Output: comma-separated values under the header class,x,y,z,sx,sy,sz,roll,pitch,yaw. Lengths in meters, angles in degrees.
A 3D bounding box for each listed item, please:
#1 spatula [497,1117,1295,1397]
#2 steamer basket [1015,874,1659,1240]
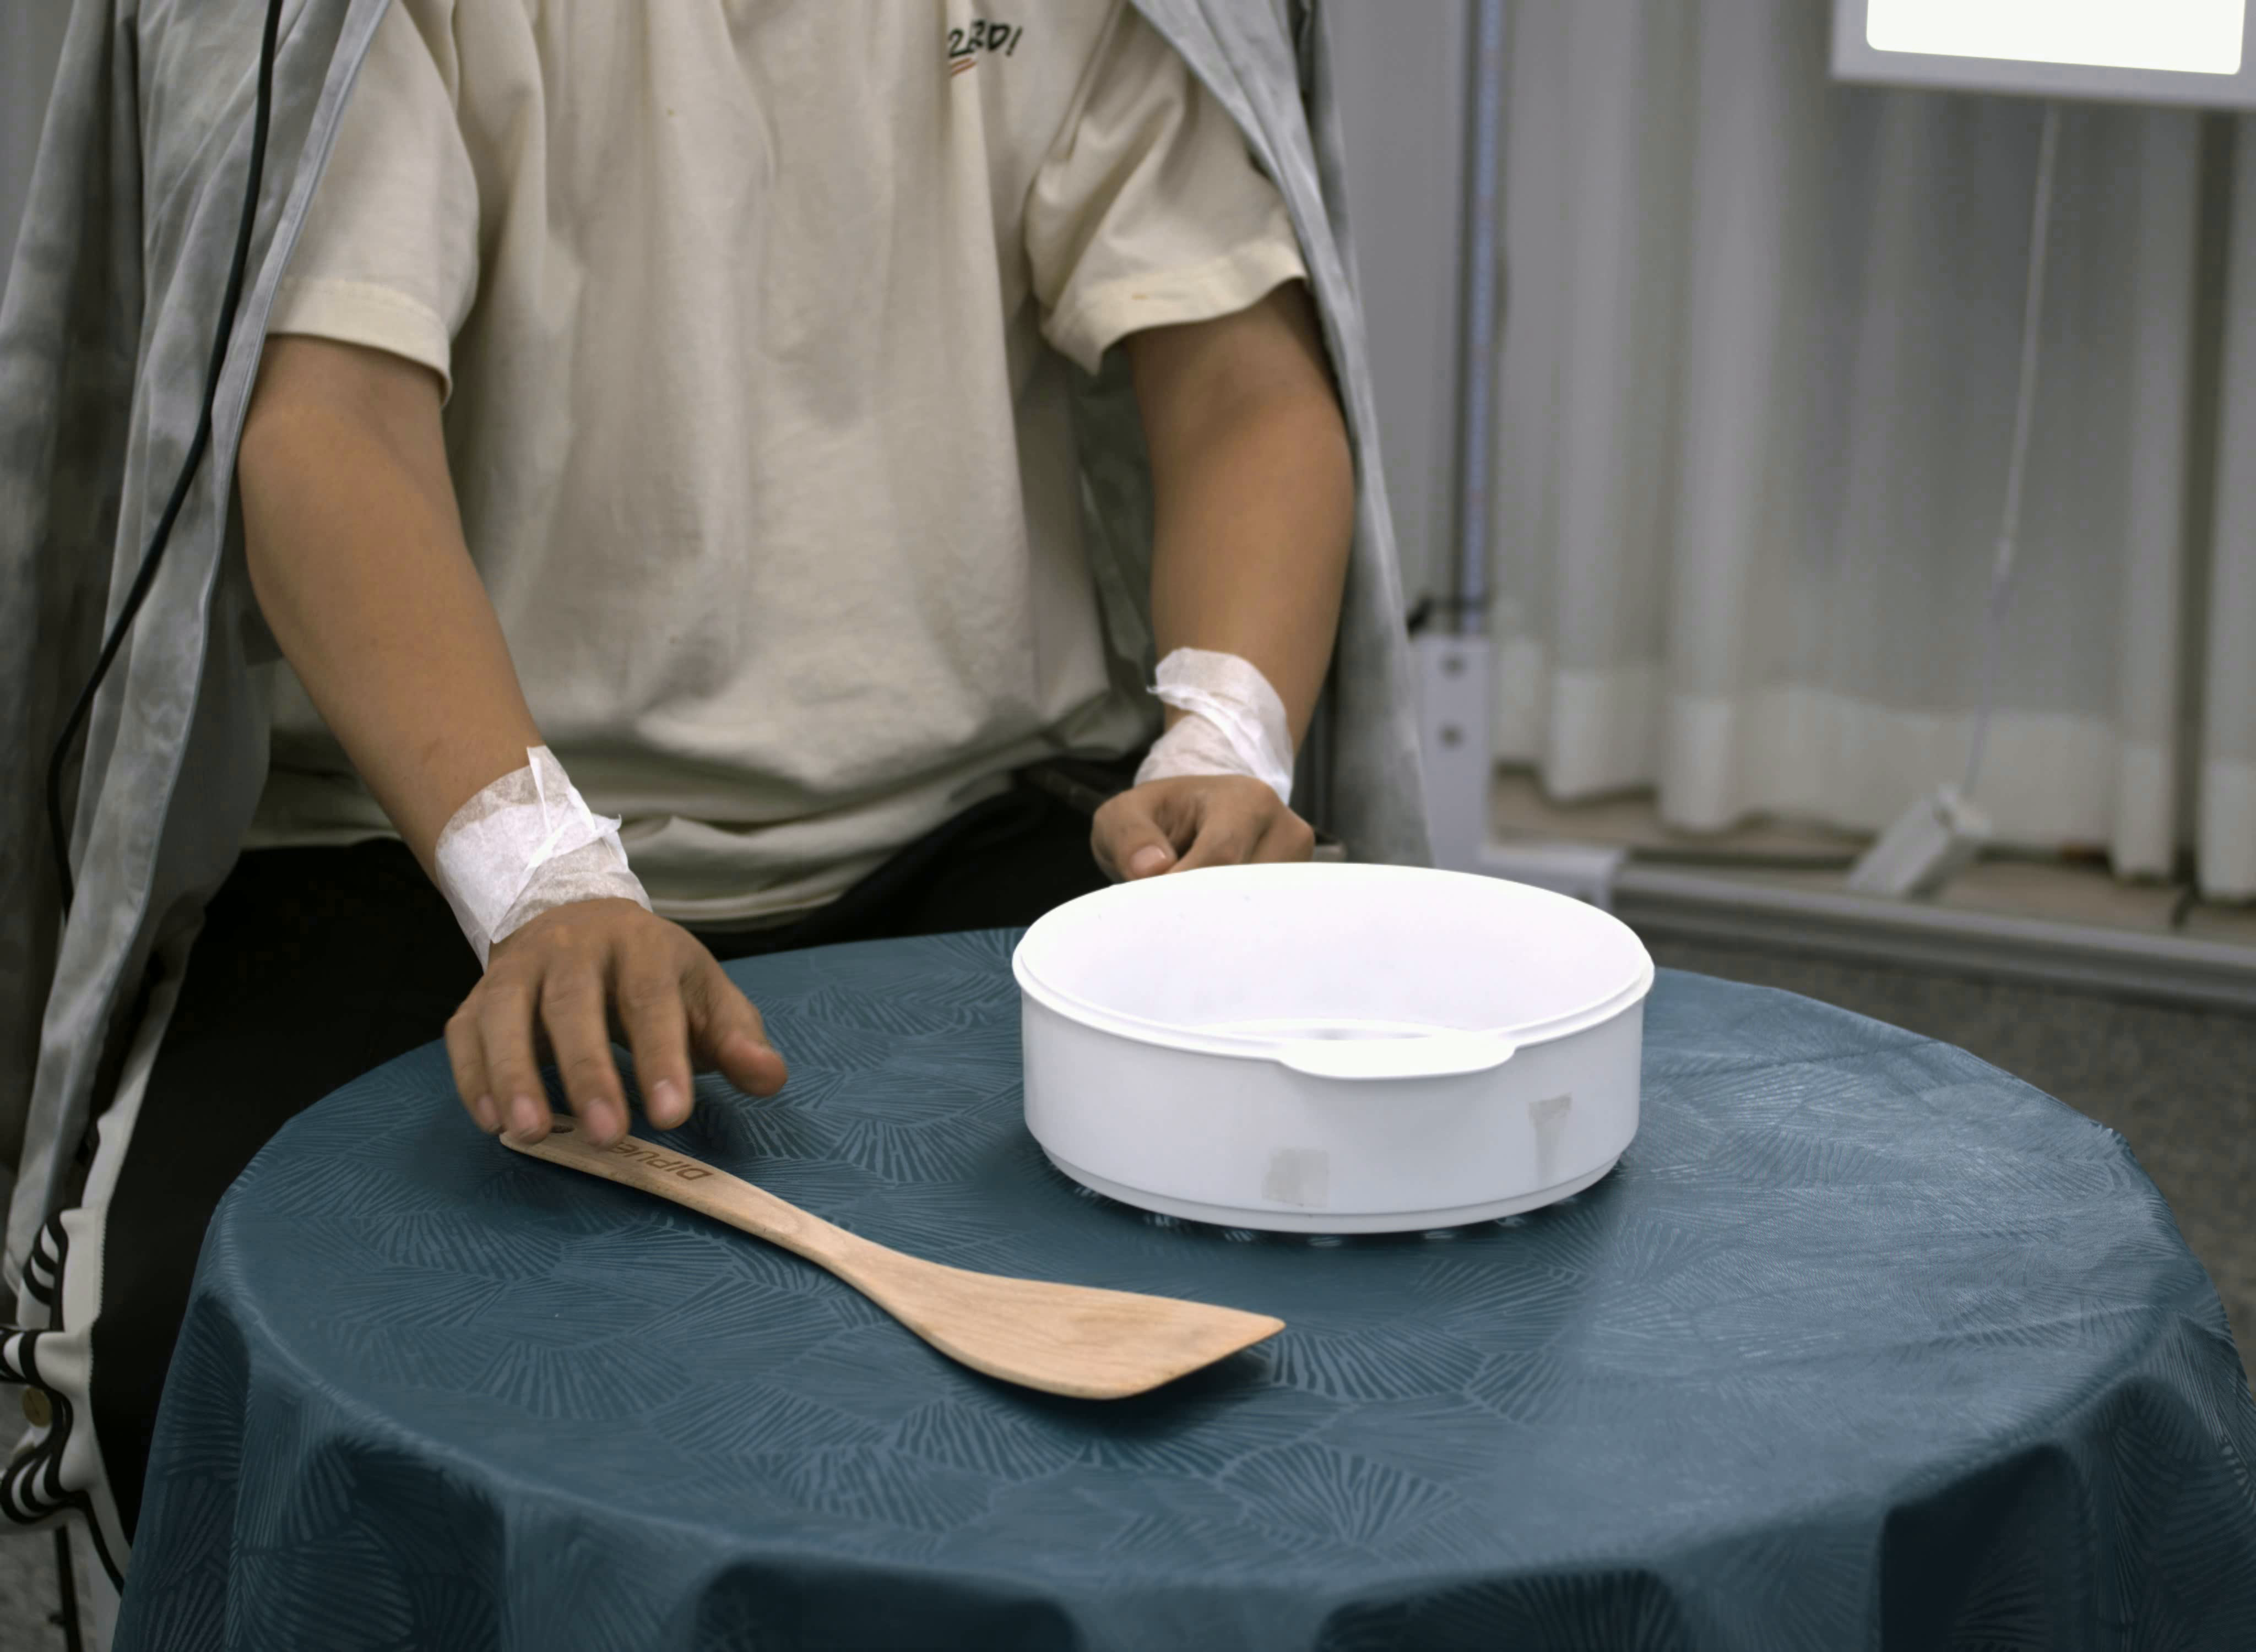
class,x,y,z,sx,sy,sz,roll,pitch,yaw
spatula,-0.082,0.122,1.555,0.080,0.016,0.323,-13,20,-42
steamer basket,0.064,0.072,1.652,0.202,0.070,0.228,-1,15,-10
